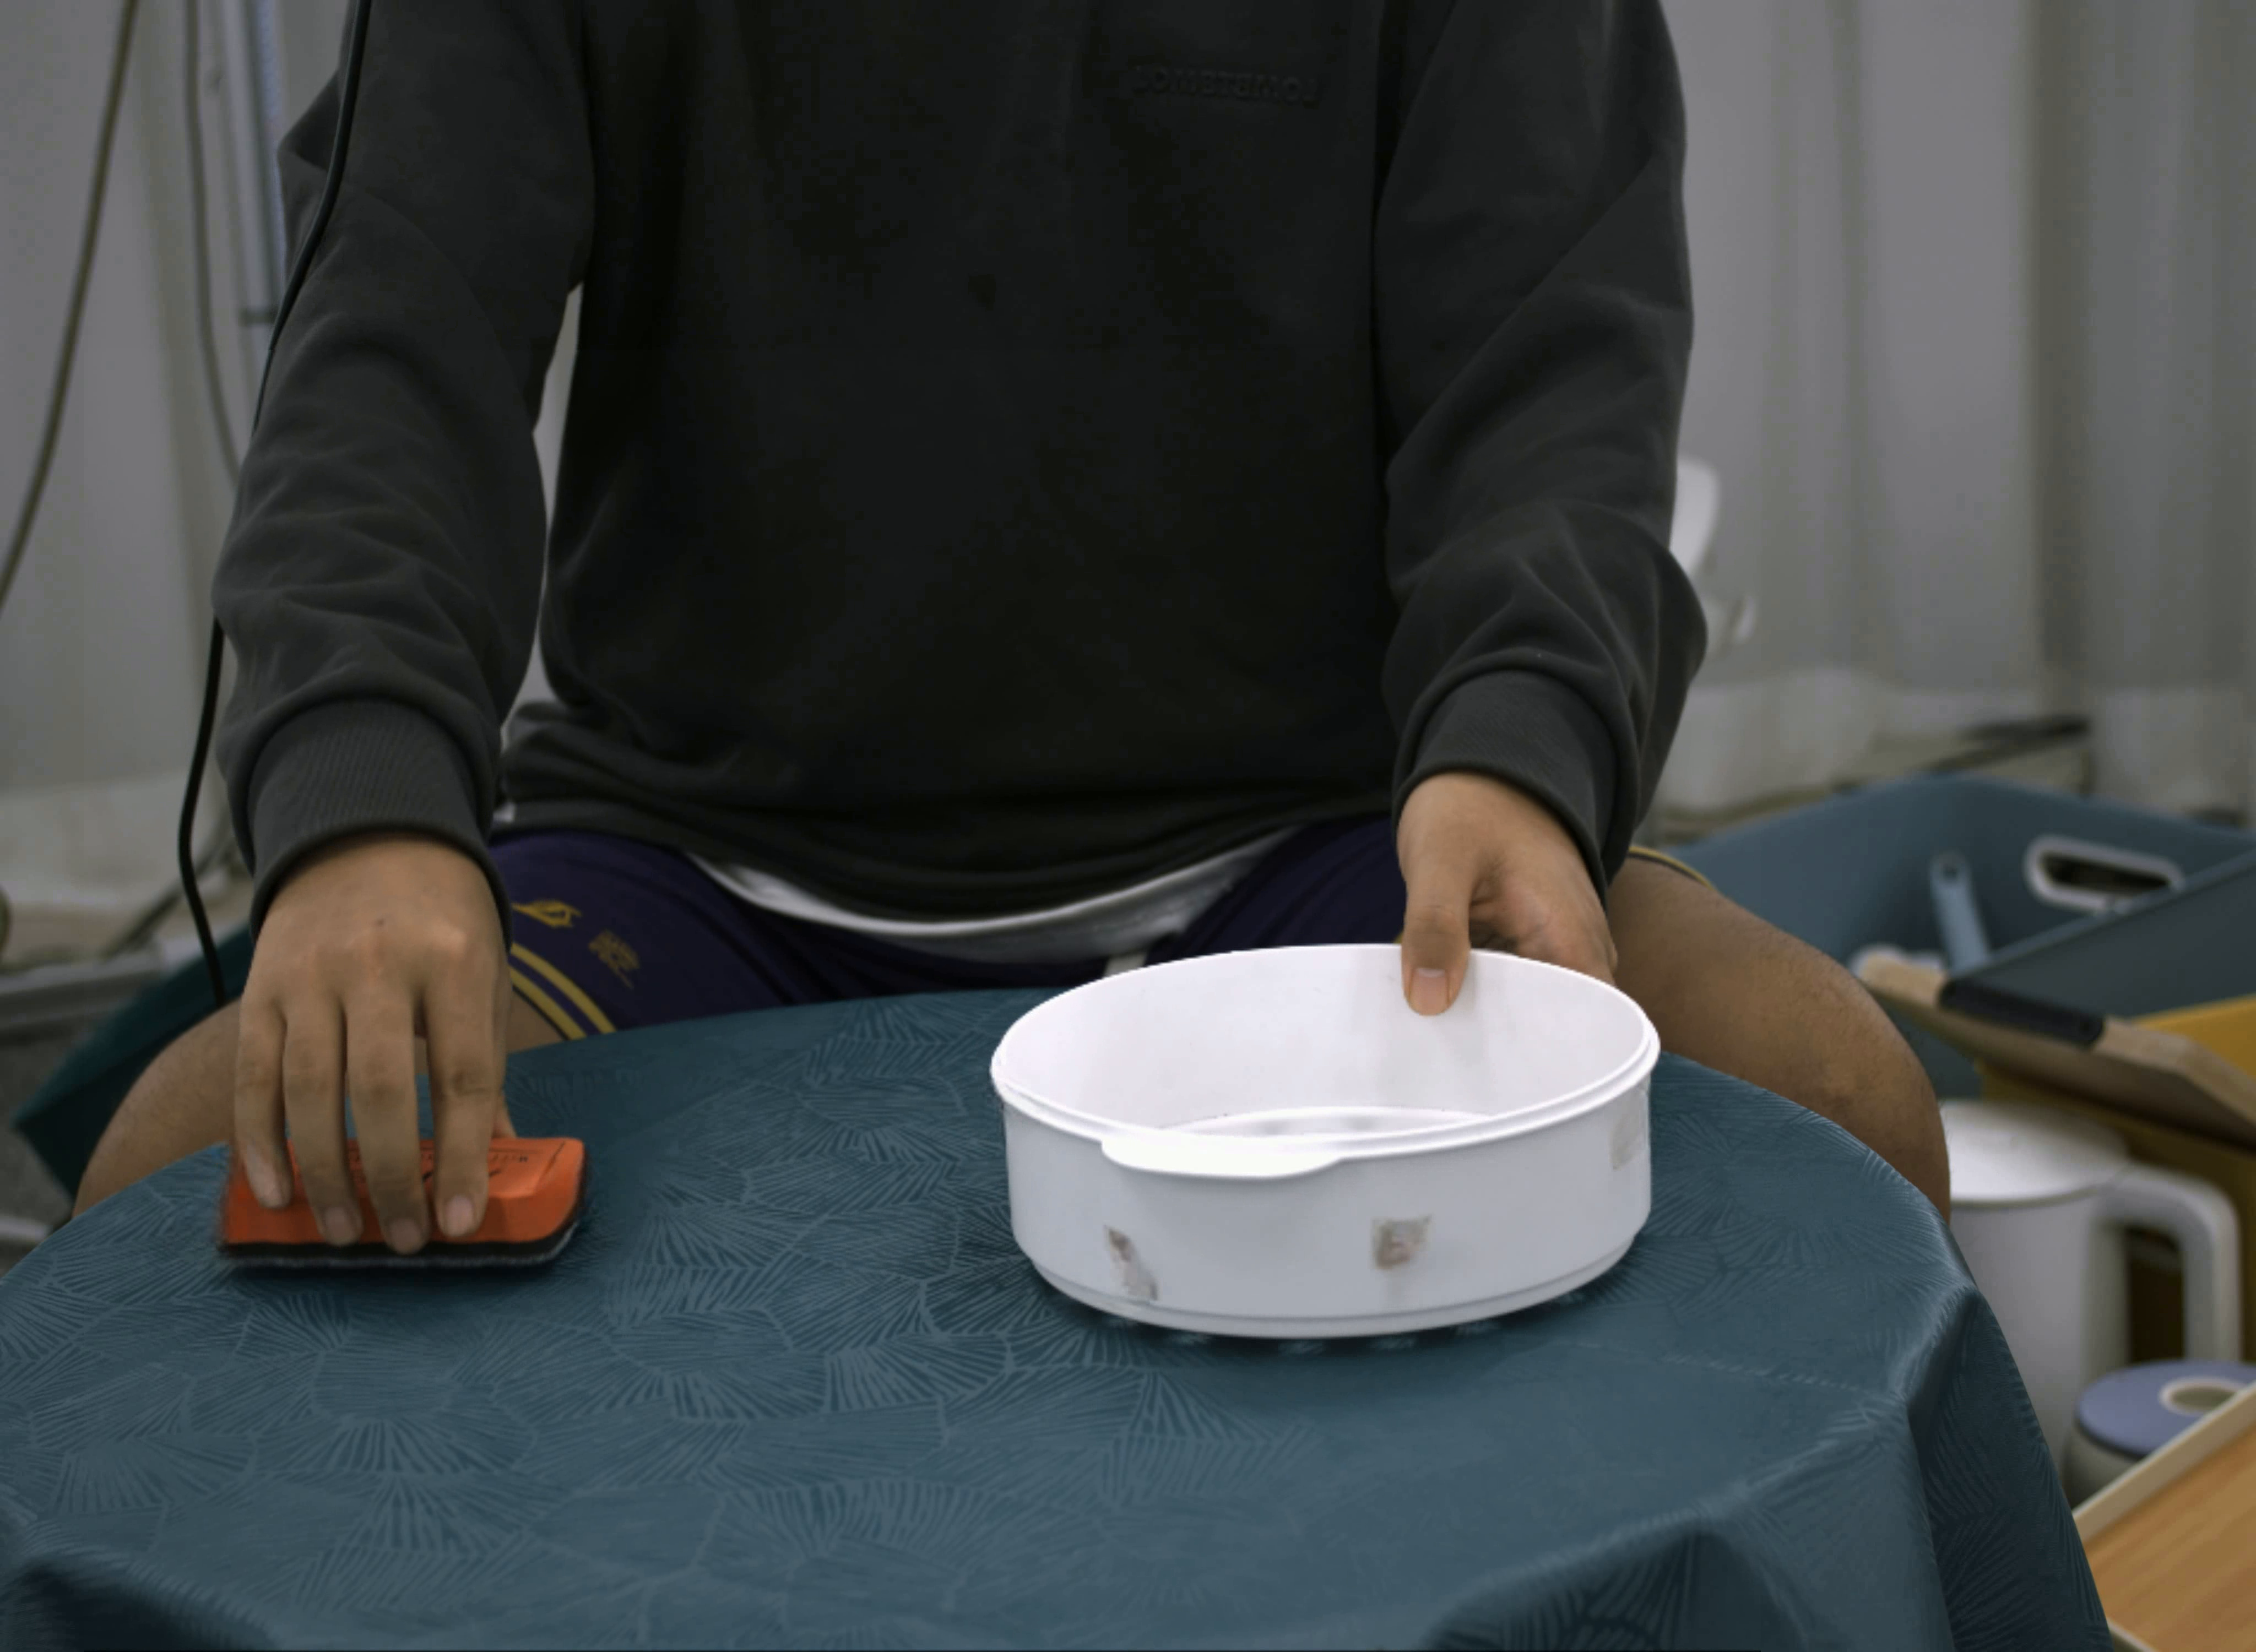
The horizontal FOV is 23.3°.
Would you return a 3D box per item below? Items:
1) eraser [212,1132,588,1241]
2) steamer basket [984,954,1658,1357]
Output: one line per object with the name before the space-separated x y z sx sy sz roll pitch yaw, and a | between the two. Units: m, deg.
eraser | -0.224 0.111 1.688 0.108 0.023 0.059 -2 6 10
steamer basket | 0.059 0.099 1.642 0.202 0.069 0.231 2 16 20
